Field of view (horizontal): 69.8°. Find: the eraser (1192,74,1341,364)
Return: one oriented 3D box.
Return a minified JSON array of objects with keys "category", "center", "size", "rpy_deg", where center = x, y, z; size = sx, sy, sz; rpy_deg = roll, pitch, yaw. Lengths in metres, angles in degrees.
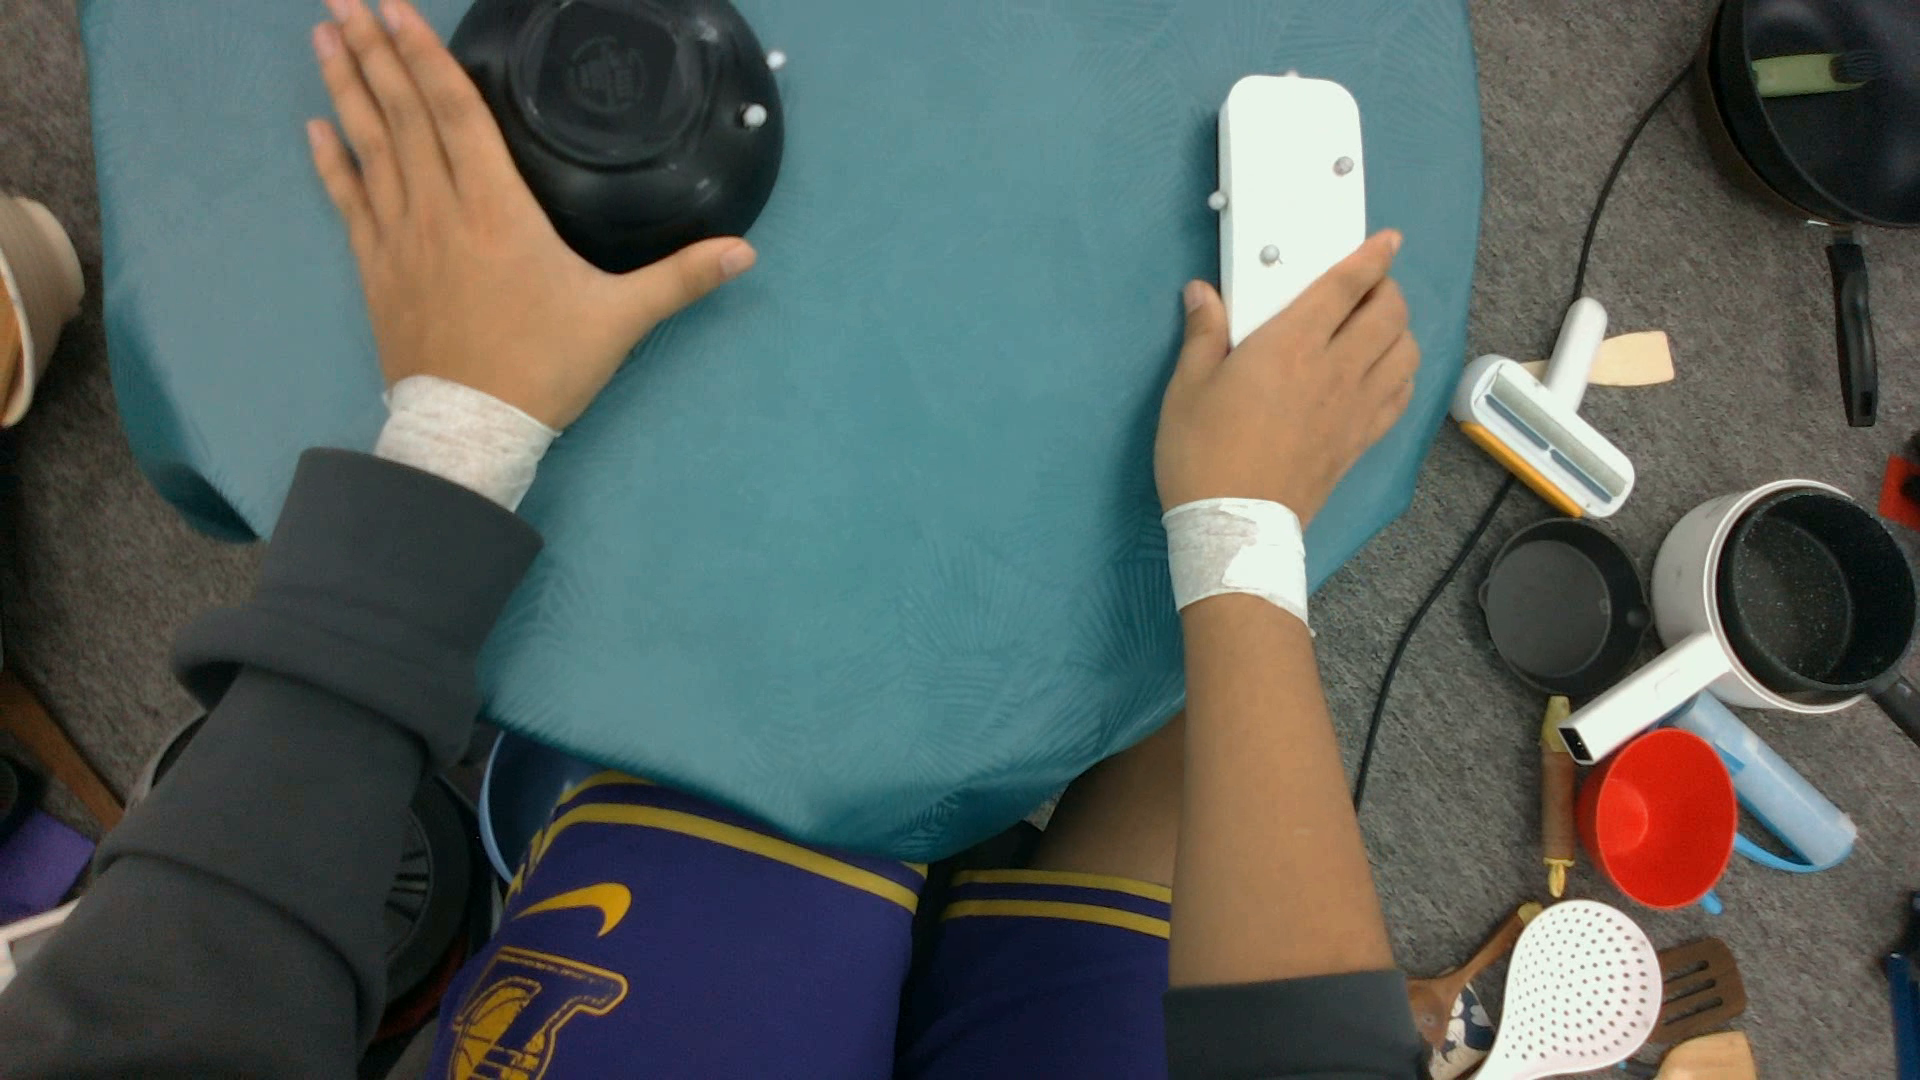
[{"category":"eraser","center":[0.135,-0.144,0.618],"size":[0.063,0.034,0.131],"rpy_deg":[1,82,-11]}]

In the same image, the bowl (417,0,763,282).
[{"category":"bowl","center":[-0.147,-0.177,0.551],"size":[0.140,0.049,0.140],"rpy_deg":[2,83,-13]}]
